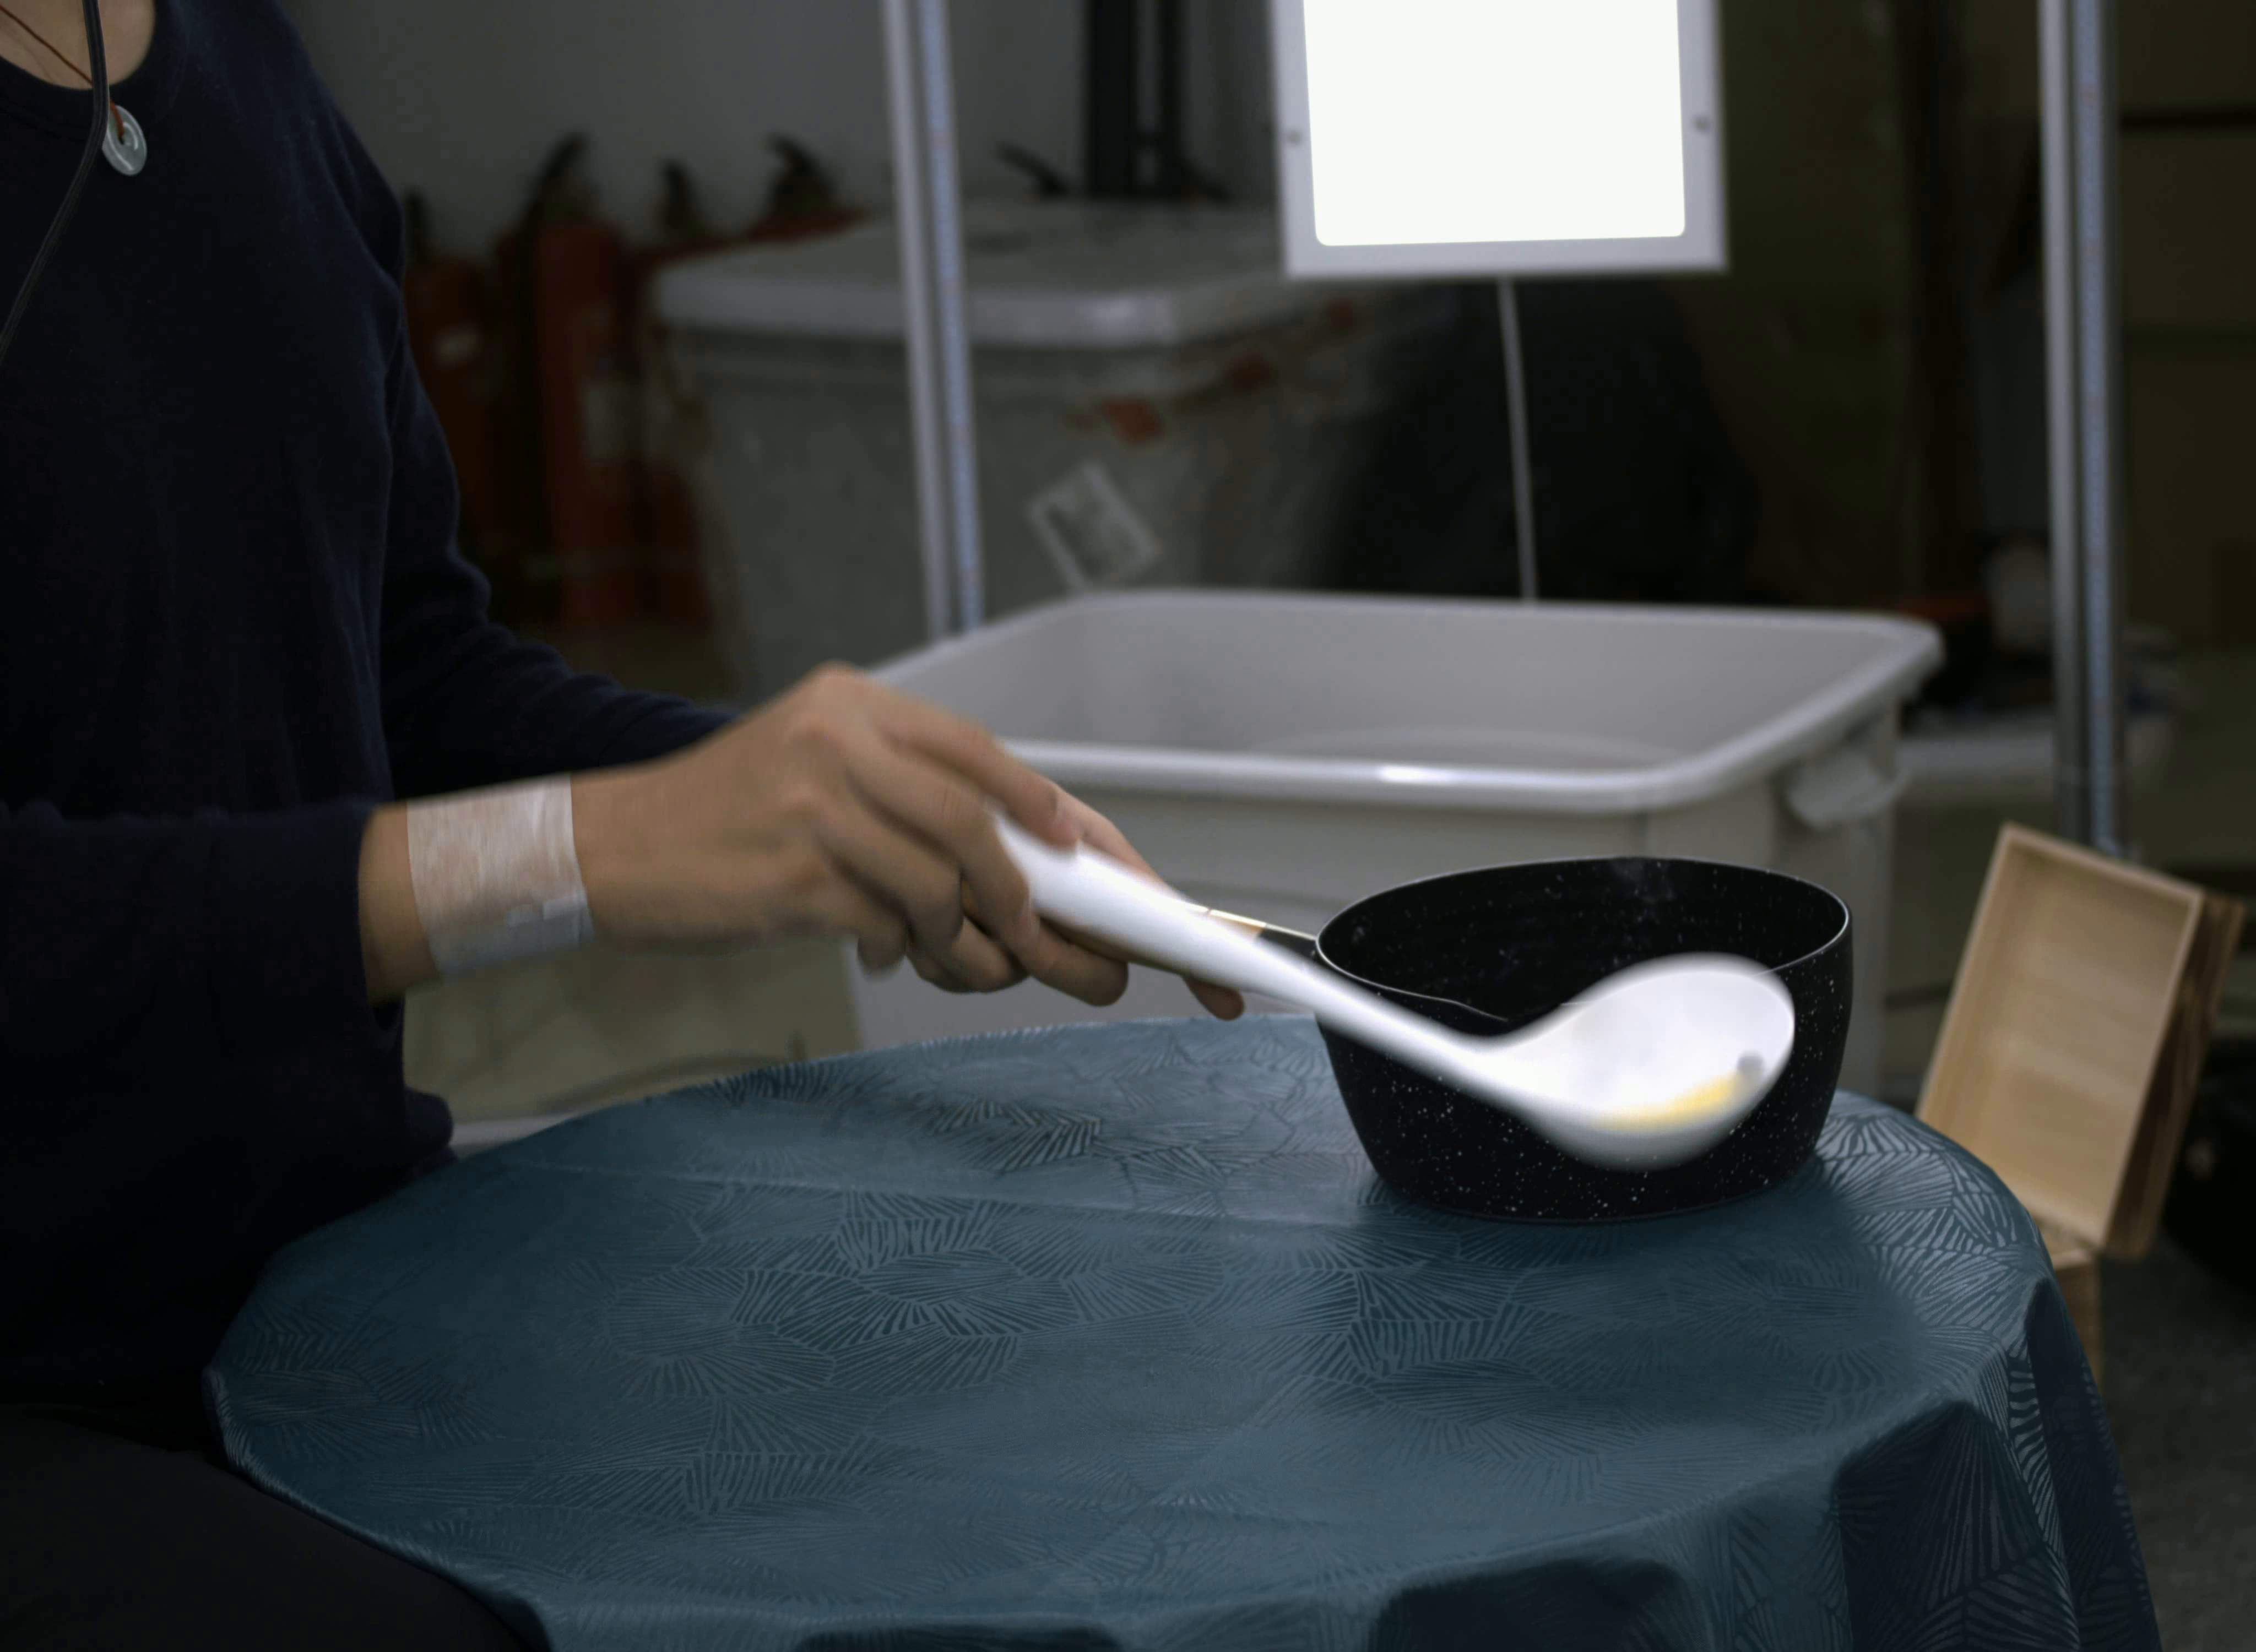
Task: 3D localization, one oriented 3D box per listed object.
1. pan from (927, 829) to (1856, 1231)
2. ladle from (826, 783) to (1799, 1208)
[{"bbox_3d":[0.083,0.061,1.906,0.347,0.108,0.204,2,17,22],"label":"pan"},{"bbox_3d":[0.055,0.042,1.656,0.291,0.071,0.089,22,41,-4],"label":"ladle"}]
